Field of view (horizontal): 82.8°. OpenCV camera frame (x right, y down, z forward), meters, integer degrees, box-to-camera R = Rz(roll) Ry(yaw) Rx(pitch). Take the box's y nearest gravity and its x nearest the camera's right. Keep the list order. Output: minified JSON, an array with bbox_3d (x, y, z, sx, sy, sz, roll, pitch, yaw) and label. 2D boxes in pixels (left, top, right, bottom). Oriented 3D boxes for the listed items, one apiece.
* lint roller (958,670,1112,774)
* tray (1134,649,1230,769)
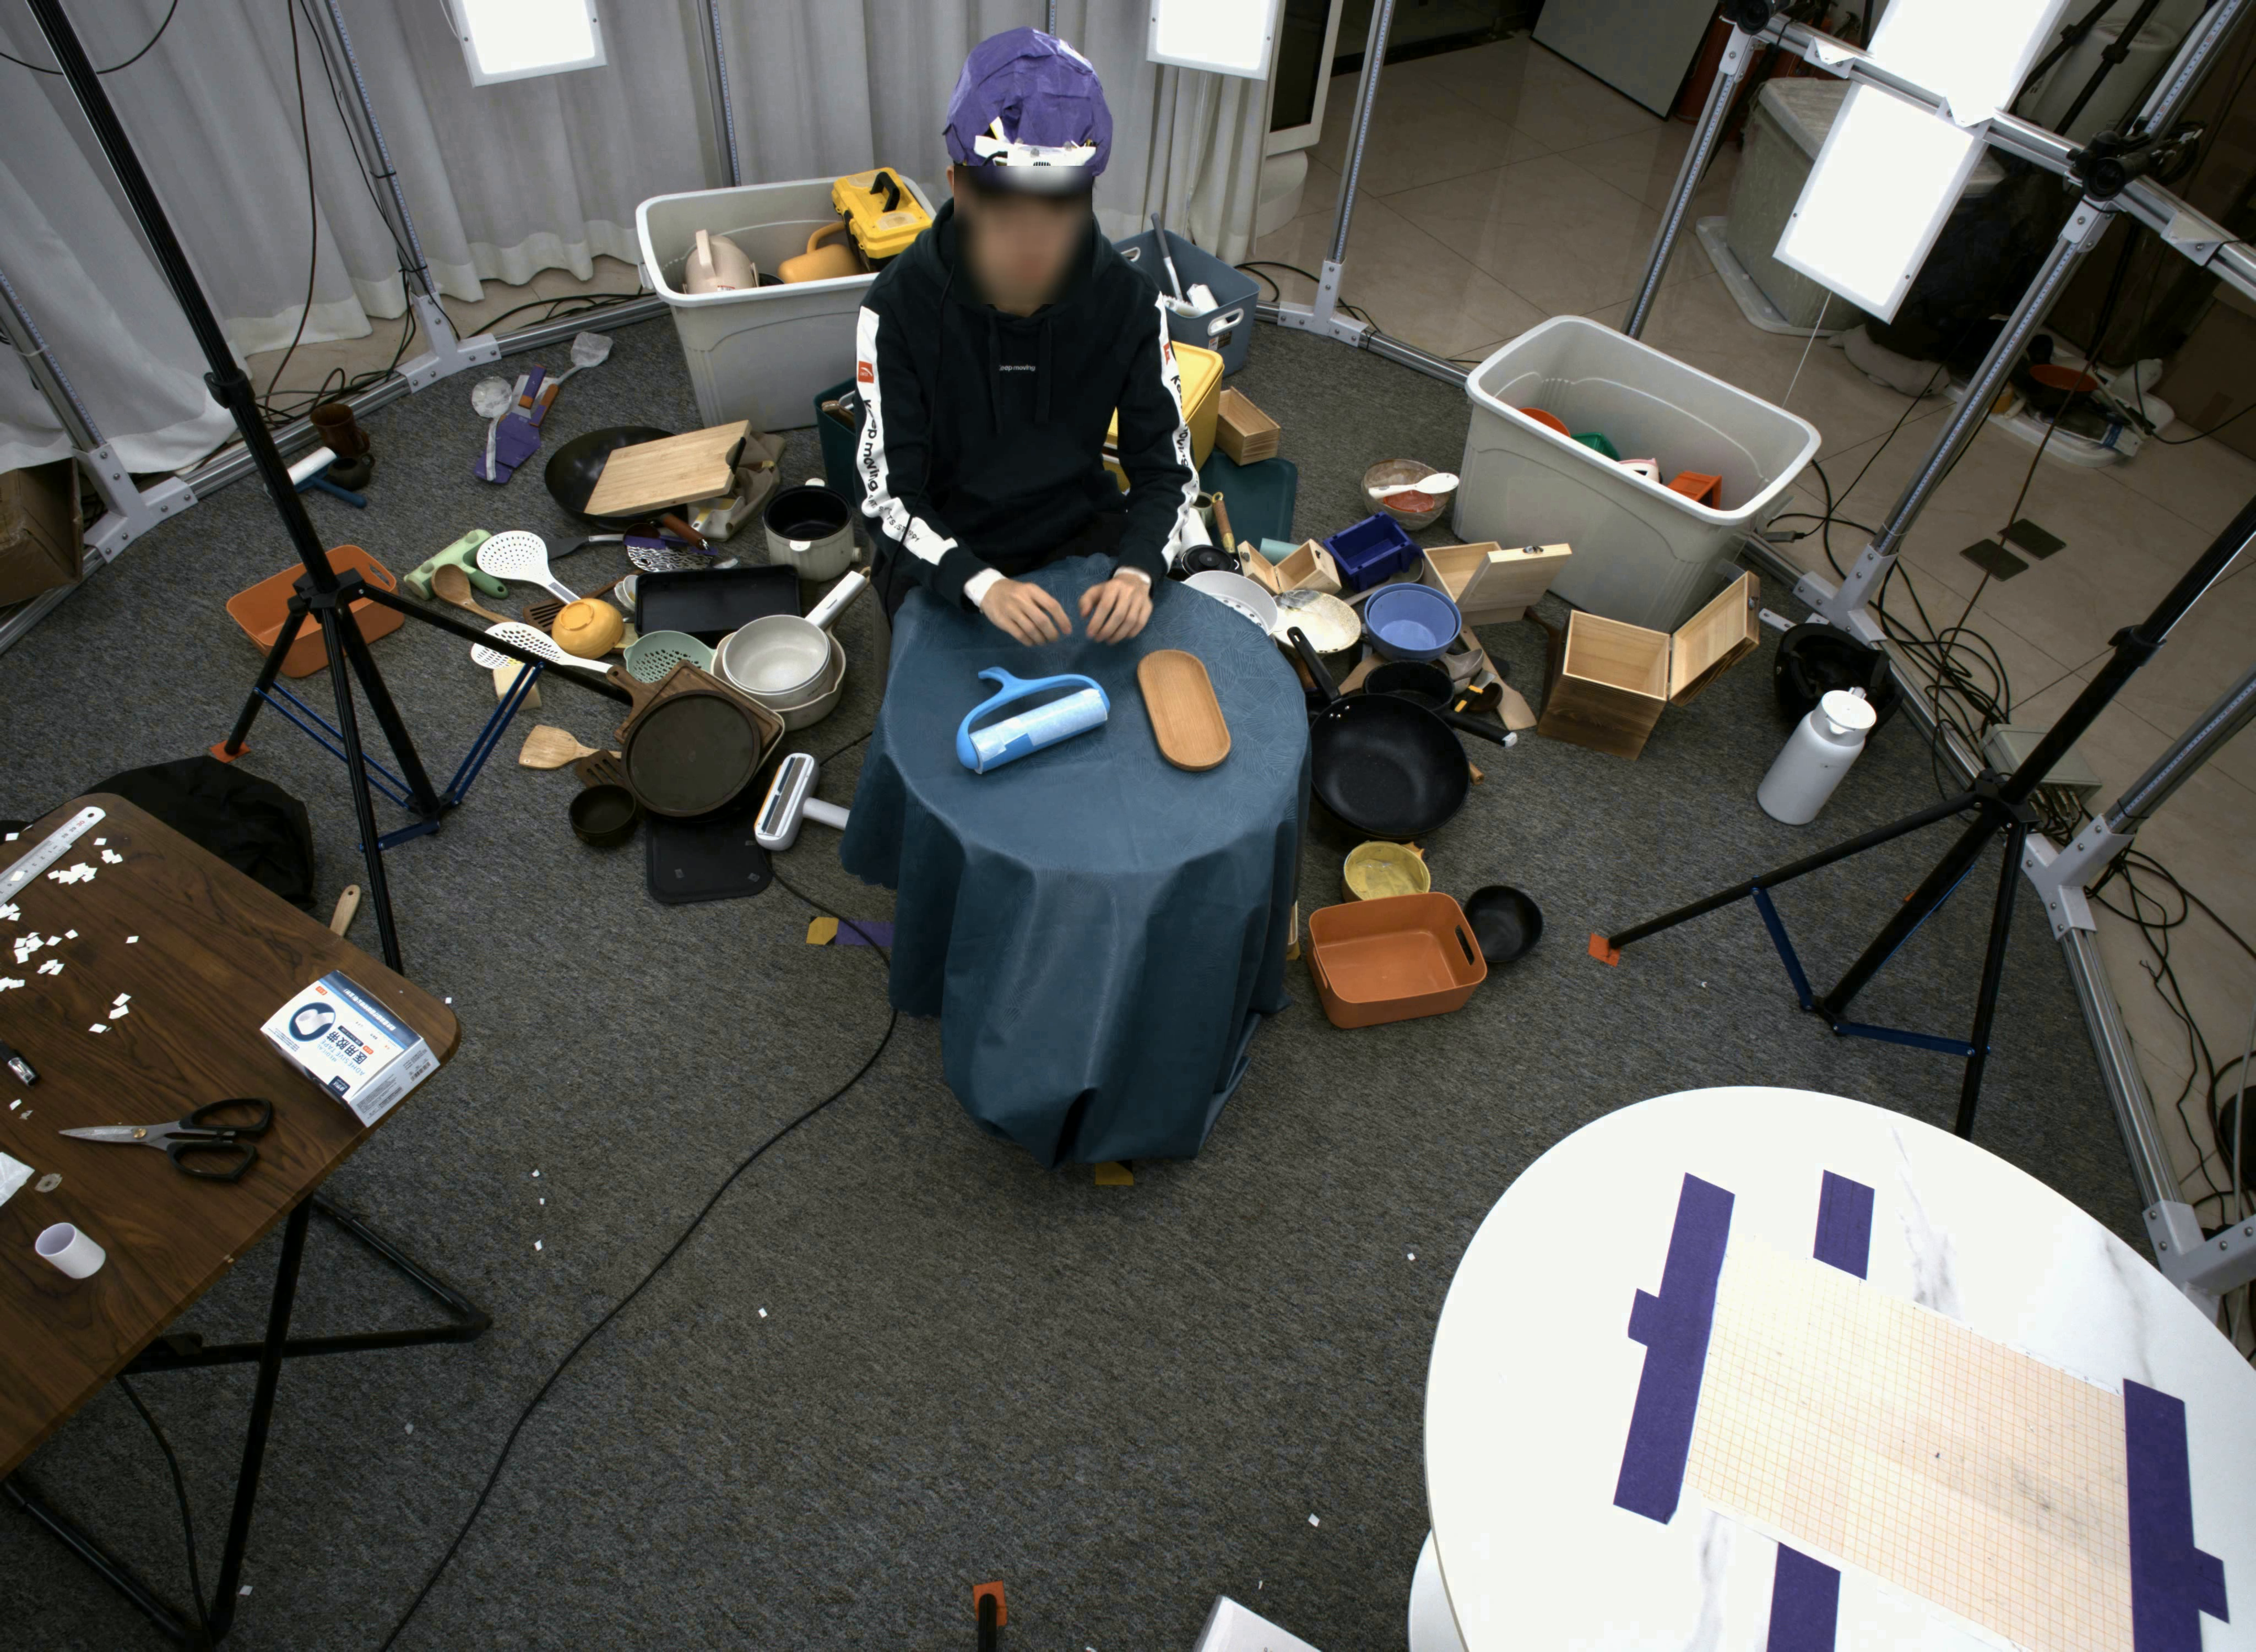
[{"bbox_3d":[-0.156,-0.171,1.769,0.230,0.066,0.184,-27,57,-22],"label":"lint roller"},{"bbox_3d":[0.075,-0.168,1.808,0.101,0.020,0.237,-7,49,-11],"label":"tray"}]
